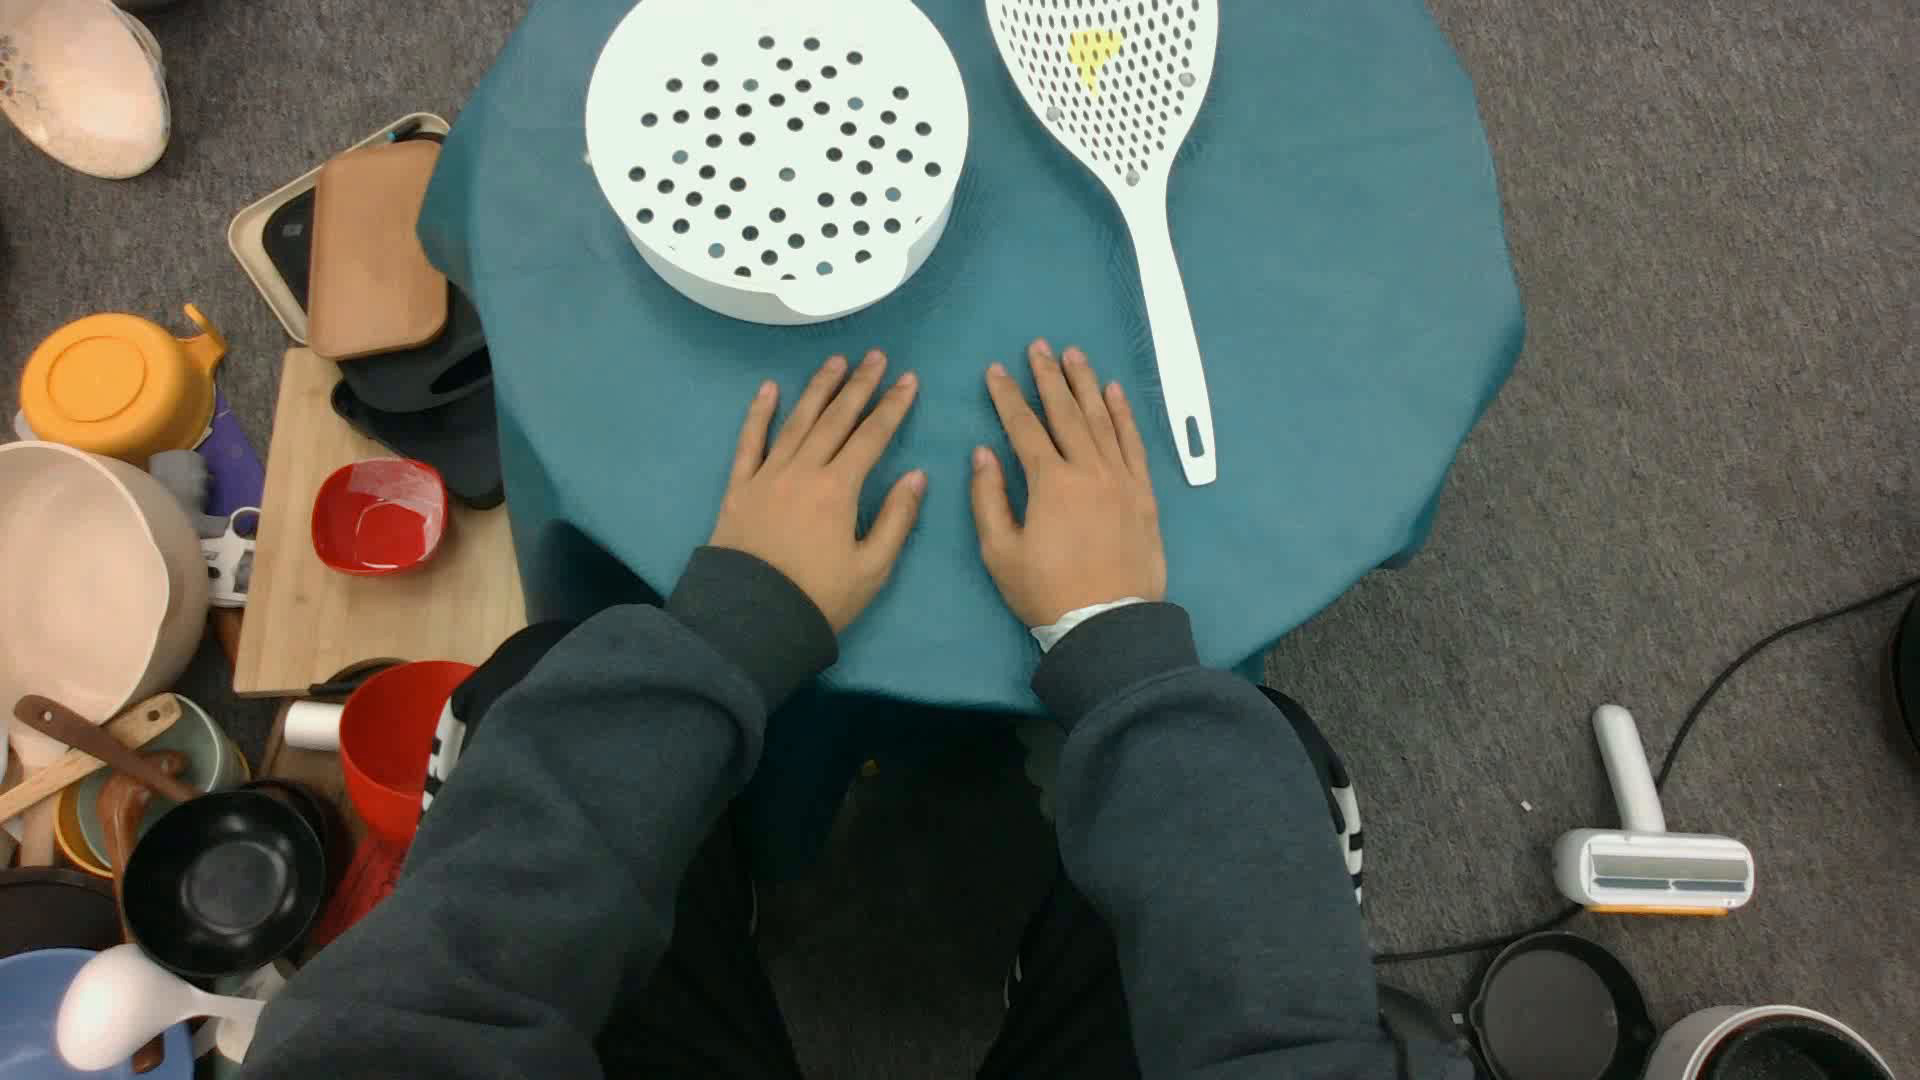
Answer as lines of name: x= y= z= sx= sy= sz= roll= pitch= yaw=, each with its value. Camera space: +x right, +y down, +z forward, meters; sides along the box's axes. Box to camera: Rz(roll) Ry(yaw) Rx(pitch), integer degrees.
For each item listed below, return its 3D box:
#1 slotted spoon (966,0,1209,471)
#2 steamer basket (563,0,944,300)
slotted spoon: x=0.091 y=-0.209 z=0.785 sx=0.137 sy=0.050 sz=0.348 roll=-10 pitch=76 yaw=-11
steamer basket: x=-0.111 y=-0.230 z=0.760 sx=0.202 sy=0.069 sz=0.231 roll=-21 pitch=76 yaw=-9
